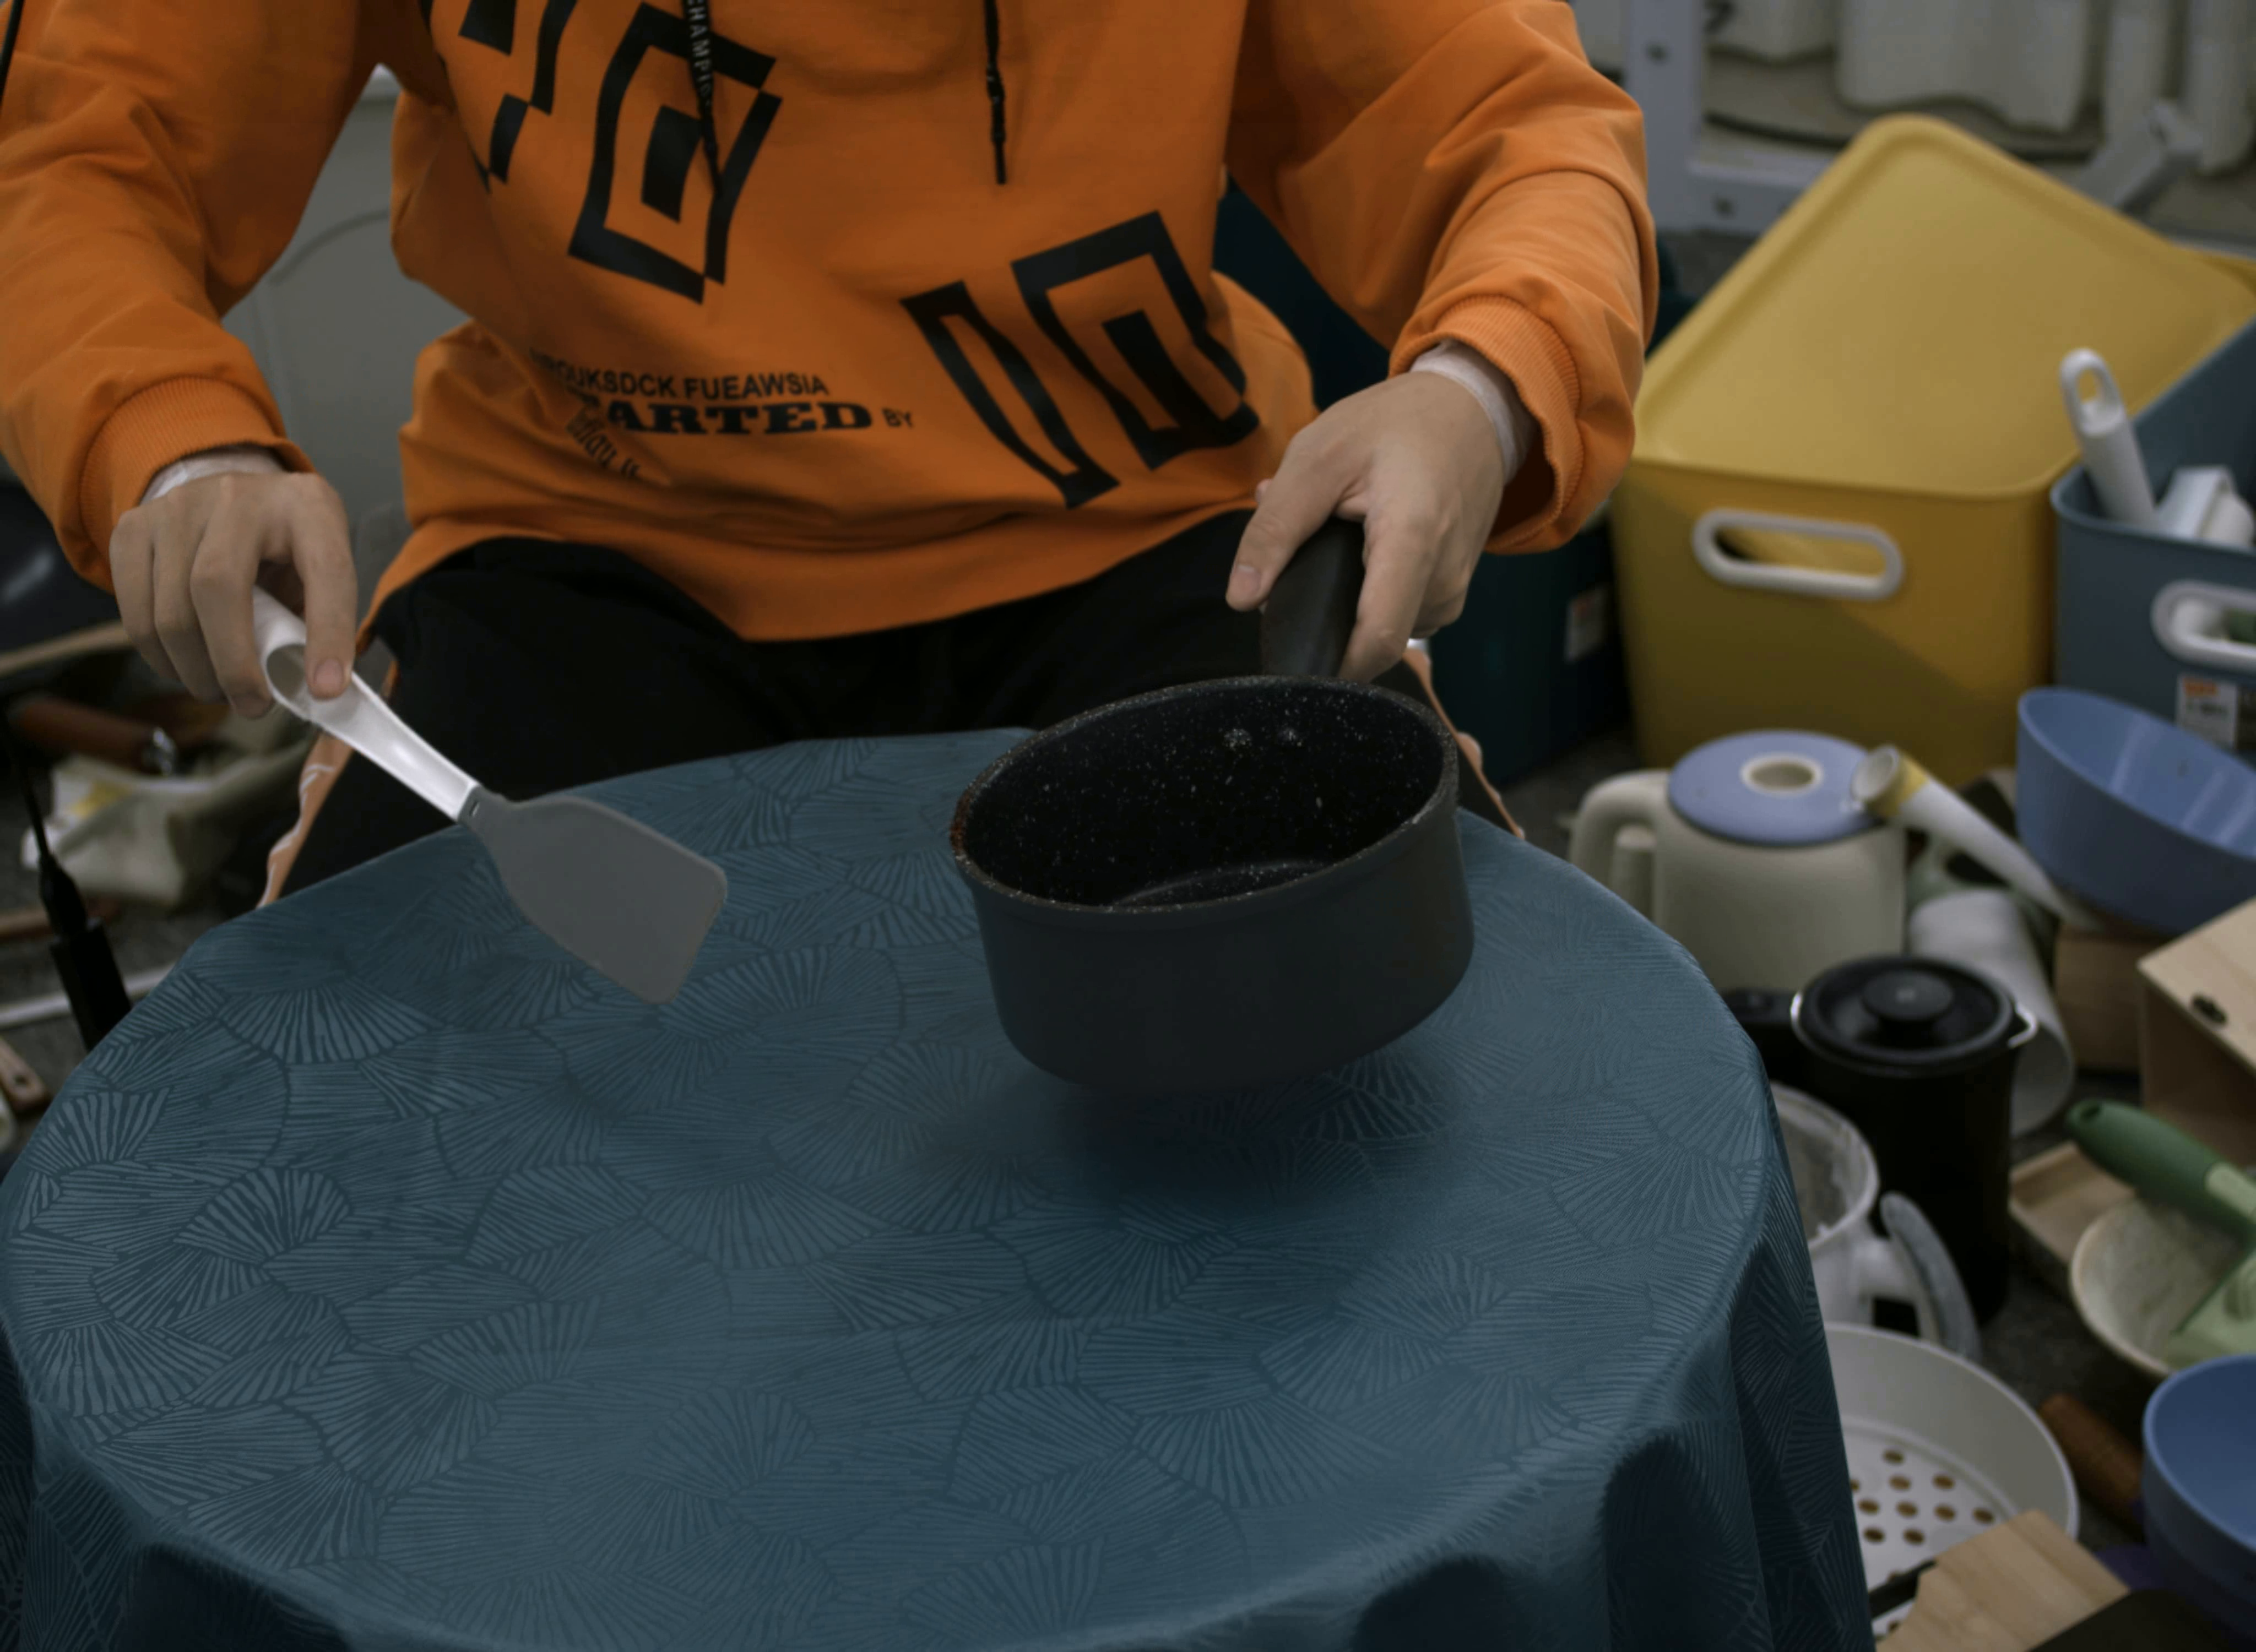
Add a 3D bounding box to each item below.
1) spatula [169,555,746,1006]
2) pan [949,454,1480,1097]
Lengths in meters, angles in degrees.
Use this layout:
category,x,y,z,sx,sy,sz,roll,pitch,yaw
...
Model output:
category,x,y,z,sx,sy,sz,roll,pitch,yaw
spatula,-0.238,-0.022,1.949,0.288,0.059,0.032,32,-3,38
pan,0.052,-0.020,1.941,0.170,0.085,0.334,-1,28,19
